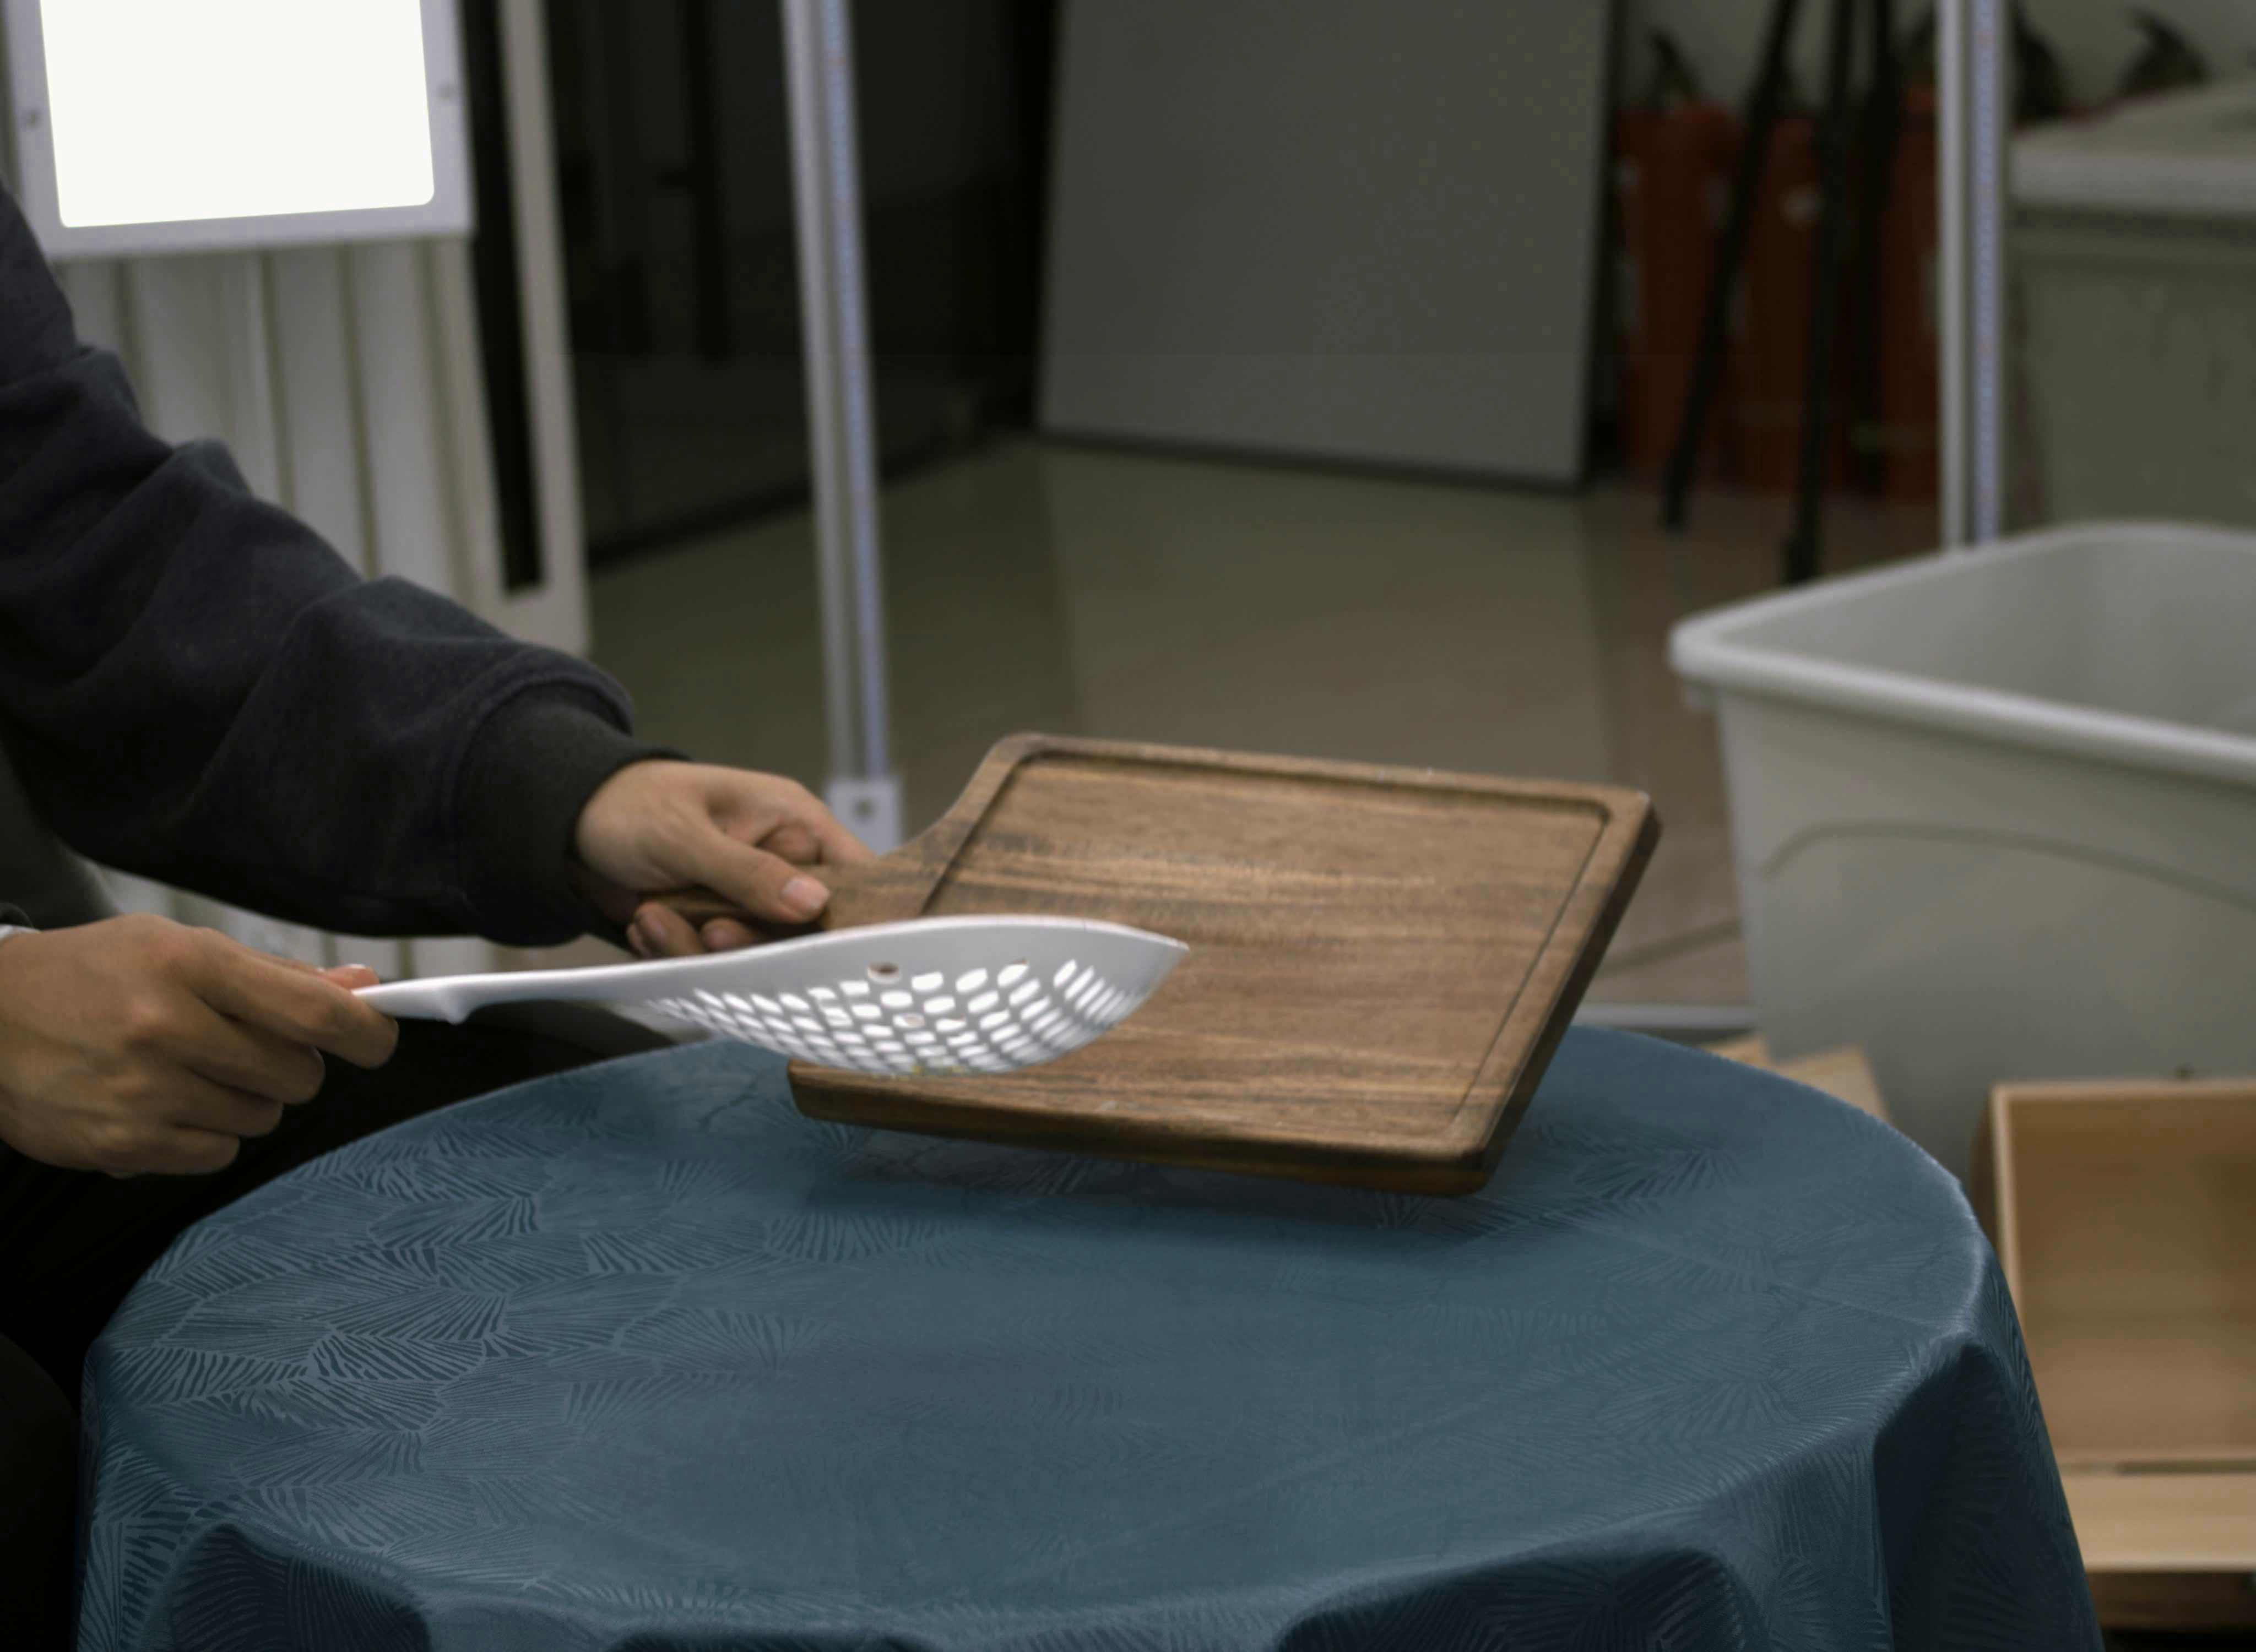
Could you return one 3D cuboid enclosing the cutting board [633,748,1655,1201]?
[{"bbox_3d":[-0.011,0.041,1.828,0.352,0.023,0.200,5,38,25],"label":"cutting board"}]

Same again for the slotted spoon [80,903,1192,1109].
[{"bbox_3d":[-0.149,0.056,1.591,0.347,0.051,0.135,-2,-5,20],"label":"slotted spoon"}]
